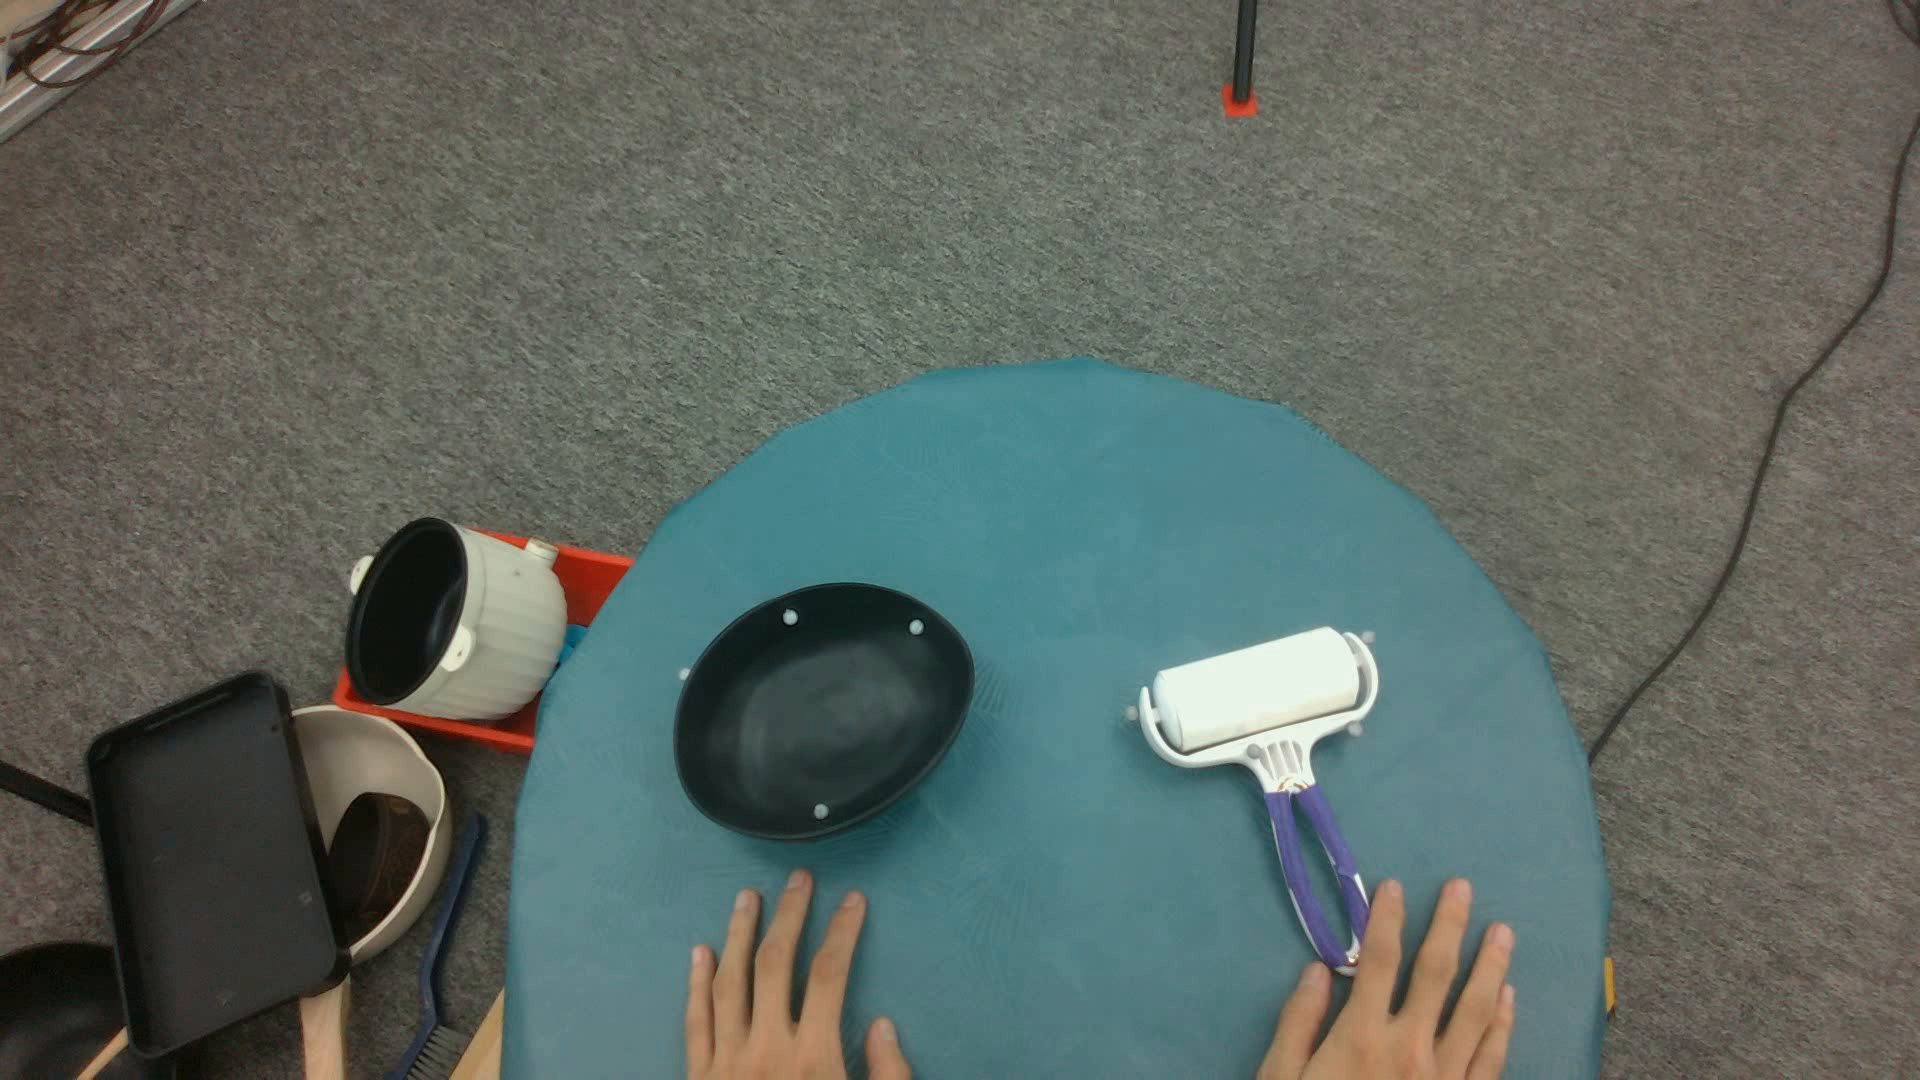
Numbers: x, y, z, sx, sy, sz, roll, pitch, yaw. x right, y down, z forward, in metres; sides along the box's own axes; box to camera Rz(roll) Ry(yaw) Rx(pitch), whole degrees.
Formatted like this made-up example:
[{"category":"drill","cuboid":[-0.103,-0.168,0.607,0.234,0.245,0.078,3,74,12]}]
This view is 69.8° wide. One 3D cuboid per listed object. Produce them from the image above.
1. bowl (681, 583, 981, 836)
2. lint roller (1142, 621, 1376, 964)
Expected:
[{"category":"bowl","cuboid":[-0.070,0.099,0.776,0.170,0.066,0.137,-28,67,-11]},{"category":"lint roller","cuboid":[0.182,0.137,0.749,0.133,0.050,0.181,-13,61,-3]}]
